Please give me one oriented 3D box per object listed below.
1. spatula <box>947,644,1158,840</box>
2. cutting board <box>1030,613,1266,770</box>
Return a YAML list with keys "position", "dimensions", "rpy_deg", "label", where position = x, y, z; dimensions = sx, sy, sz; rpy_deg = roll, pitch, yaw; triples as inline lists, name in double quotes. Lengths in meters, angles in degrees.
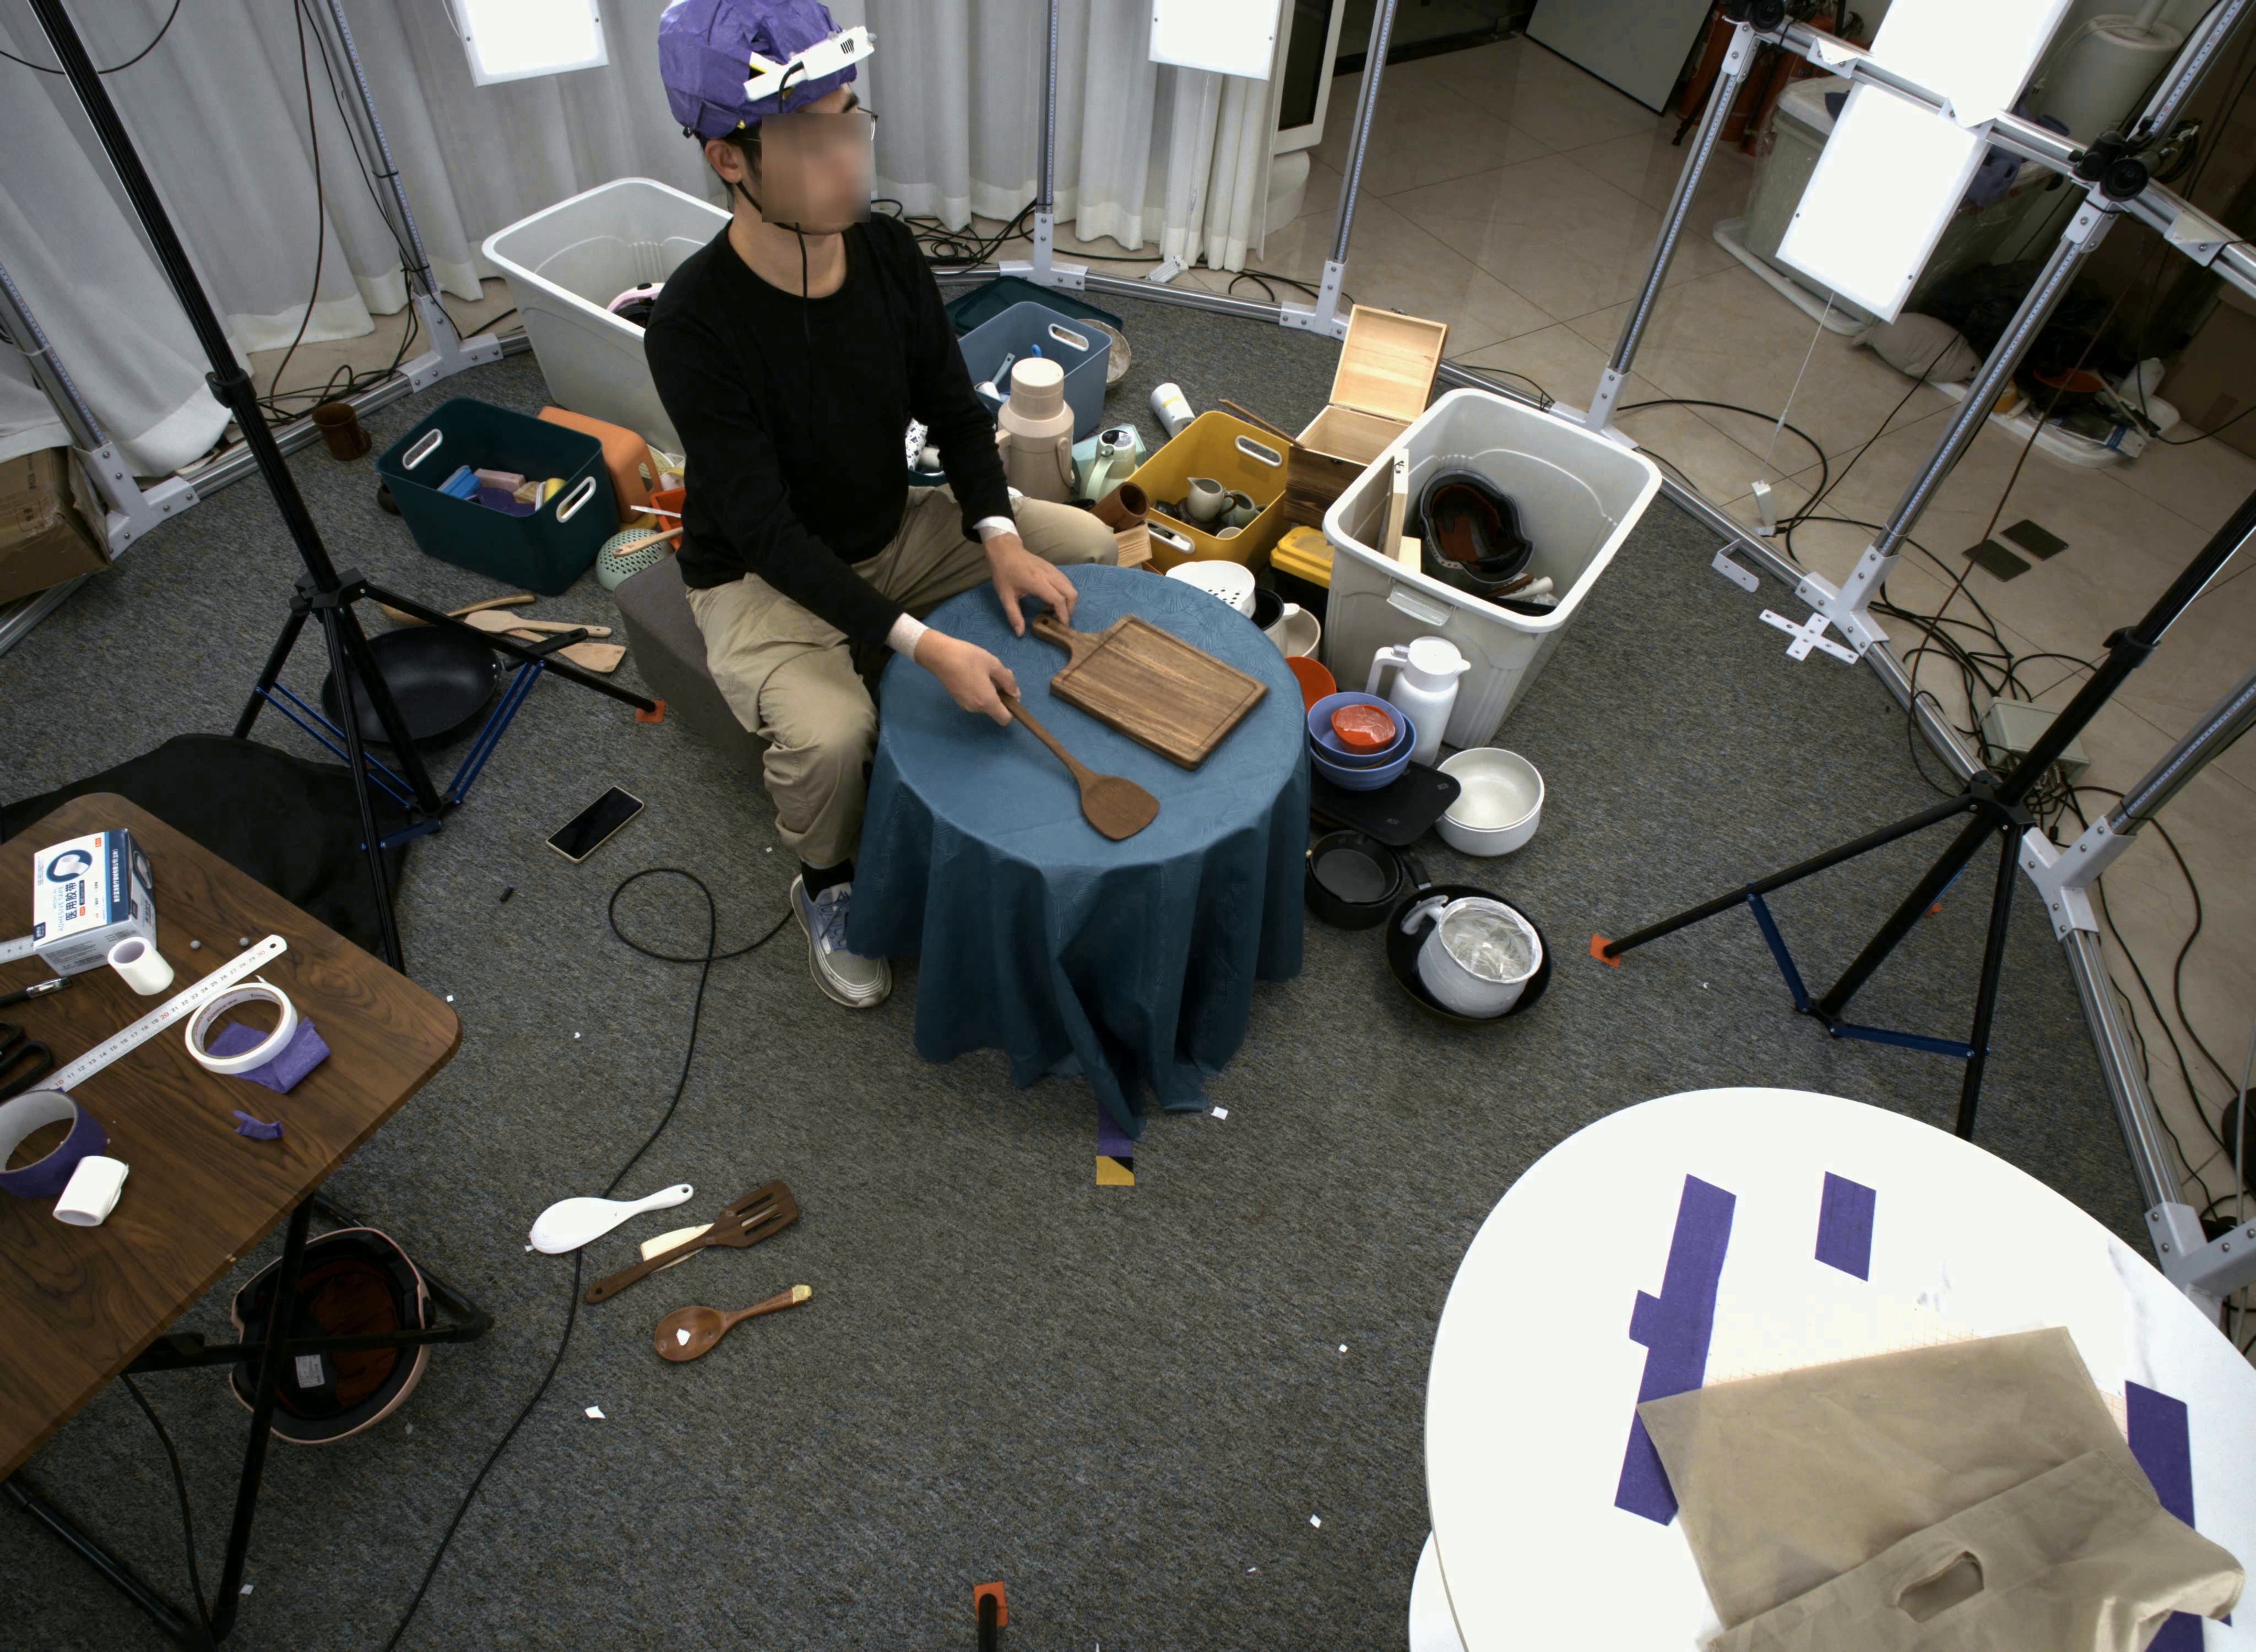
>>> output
- position: [-0.116, -0.124, 1.730]
  dimensions: [0.097, 0.015, 0.391]
  rpy_deg: [-35, 69, -29]
  label: "spatula"
- position: [0.004, -0.221, 1.849]
  dimensions: [0.356, 0.022, 0.204]
  rpy_deg: [30, 54, 21]
  label: "cutting board"
